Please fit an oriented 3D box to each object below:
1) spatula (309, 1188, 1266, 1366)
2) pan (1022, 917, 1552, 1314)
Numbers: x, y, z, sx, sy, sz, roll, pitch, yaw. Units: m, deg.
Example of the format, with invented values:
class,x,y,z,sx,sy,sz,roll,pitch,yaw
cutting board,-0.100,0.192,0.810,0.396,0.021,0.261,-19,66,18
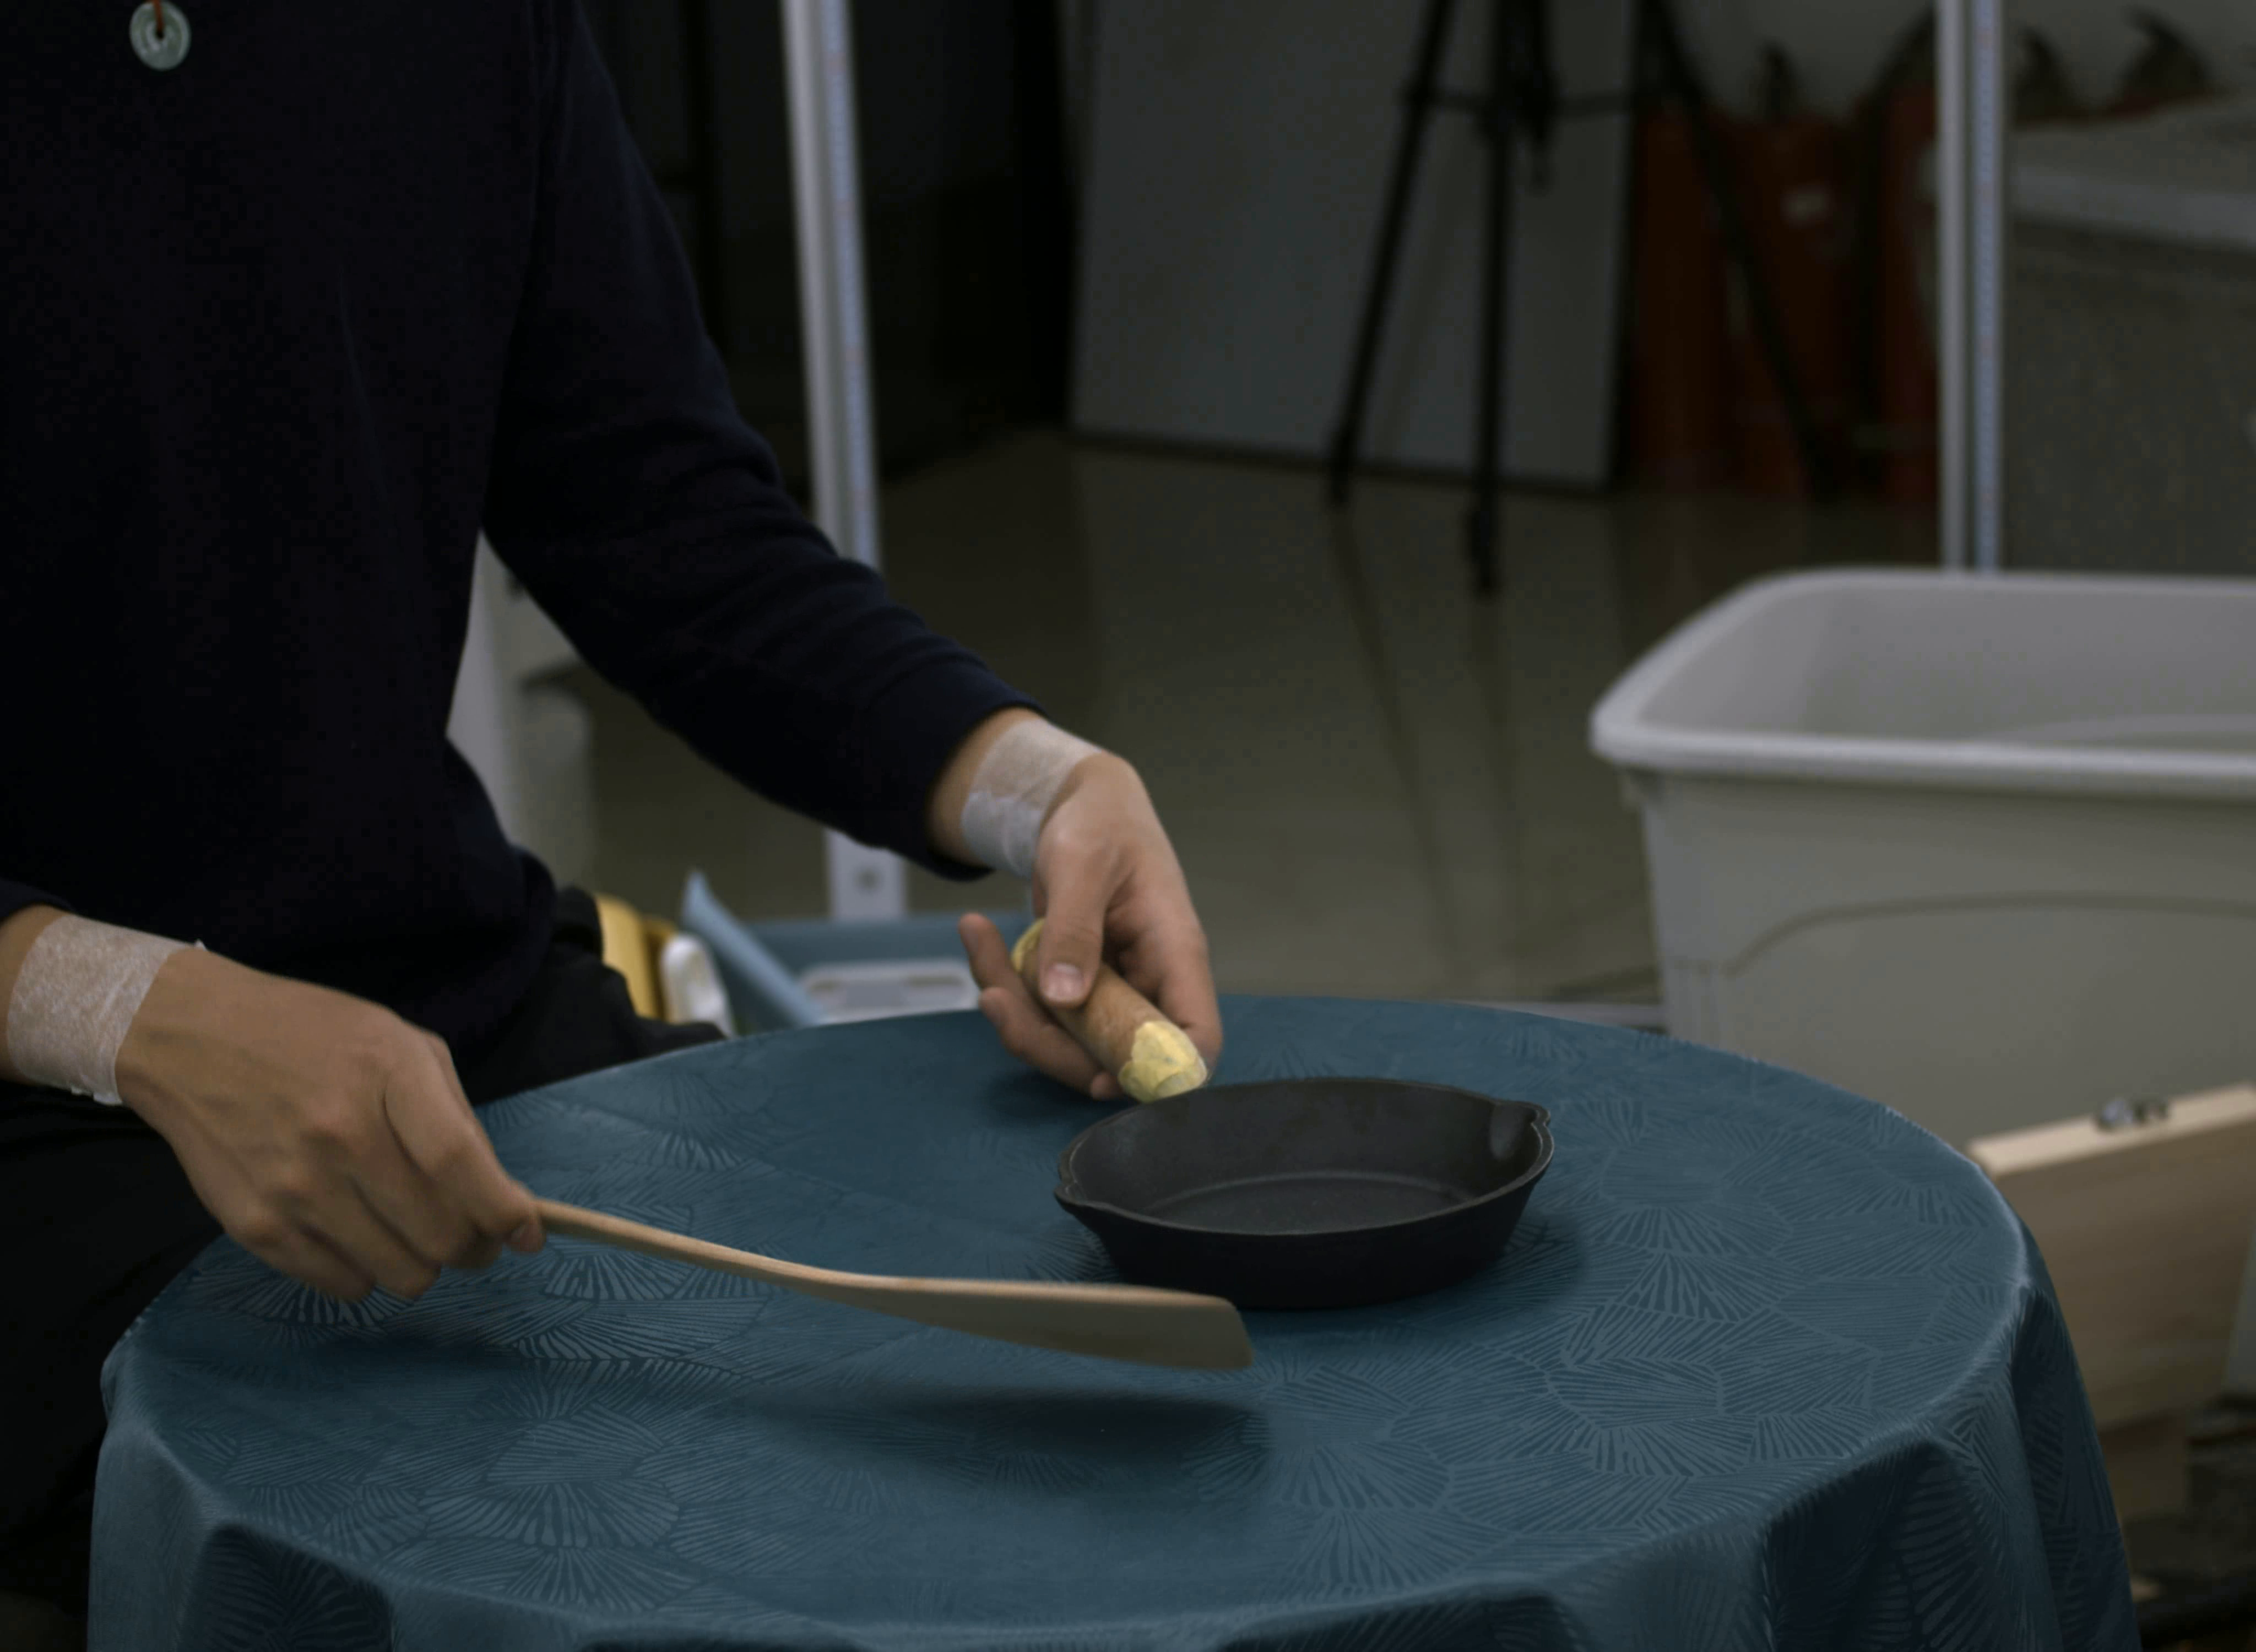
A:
class,x,y,z,sx,sy,sz,roll,pitch,yaw
spatula,-0.106,0.130,1.609,0.328,0.016,0.079,6,-22,28
pan,0.028,0.092,1.776,0.165,0.050,0.327,-9,16,-18
